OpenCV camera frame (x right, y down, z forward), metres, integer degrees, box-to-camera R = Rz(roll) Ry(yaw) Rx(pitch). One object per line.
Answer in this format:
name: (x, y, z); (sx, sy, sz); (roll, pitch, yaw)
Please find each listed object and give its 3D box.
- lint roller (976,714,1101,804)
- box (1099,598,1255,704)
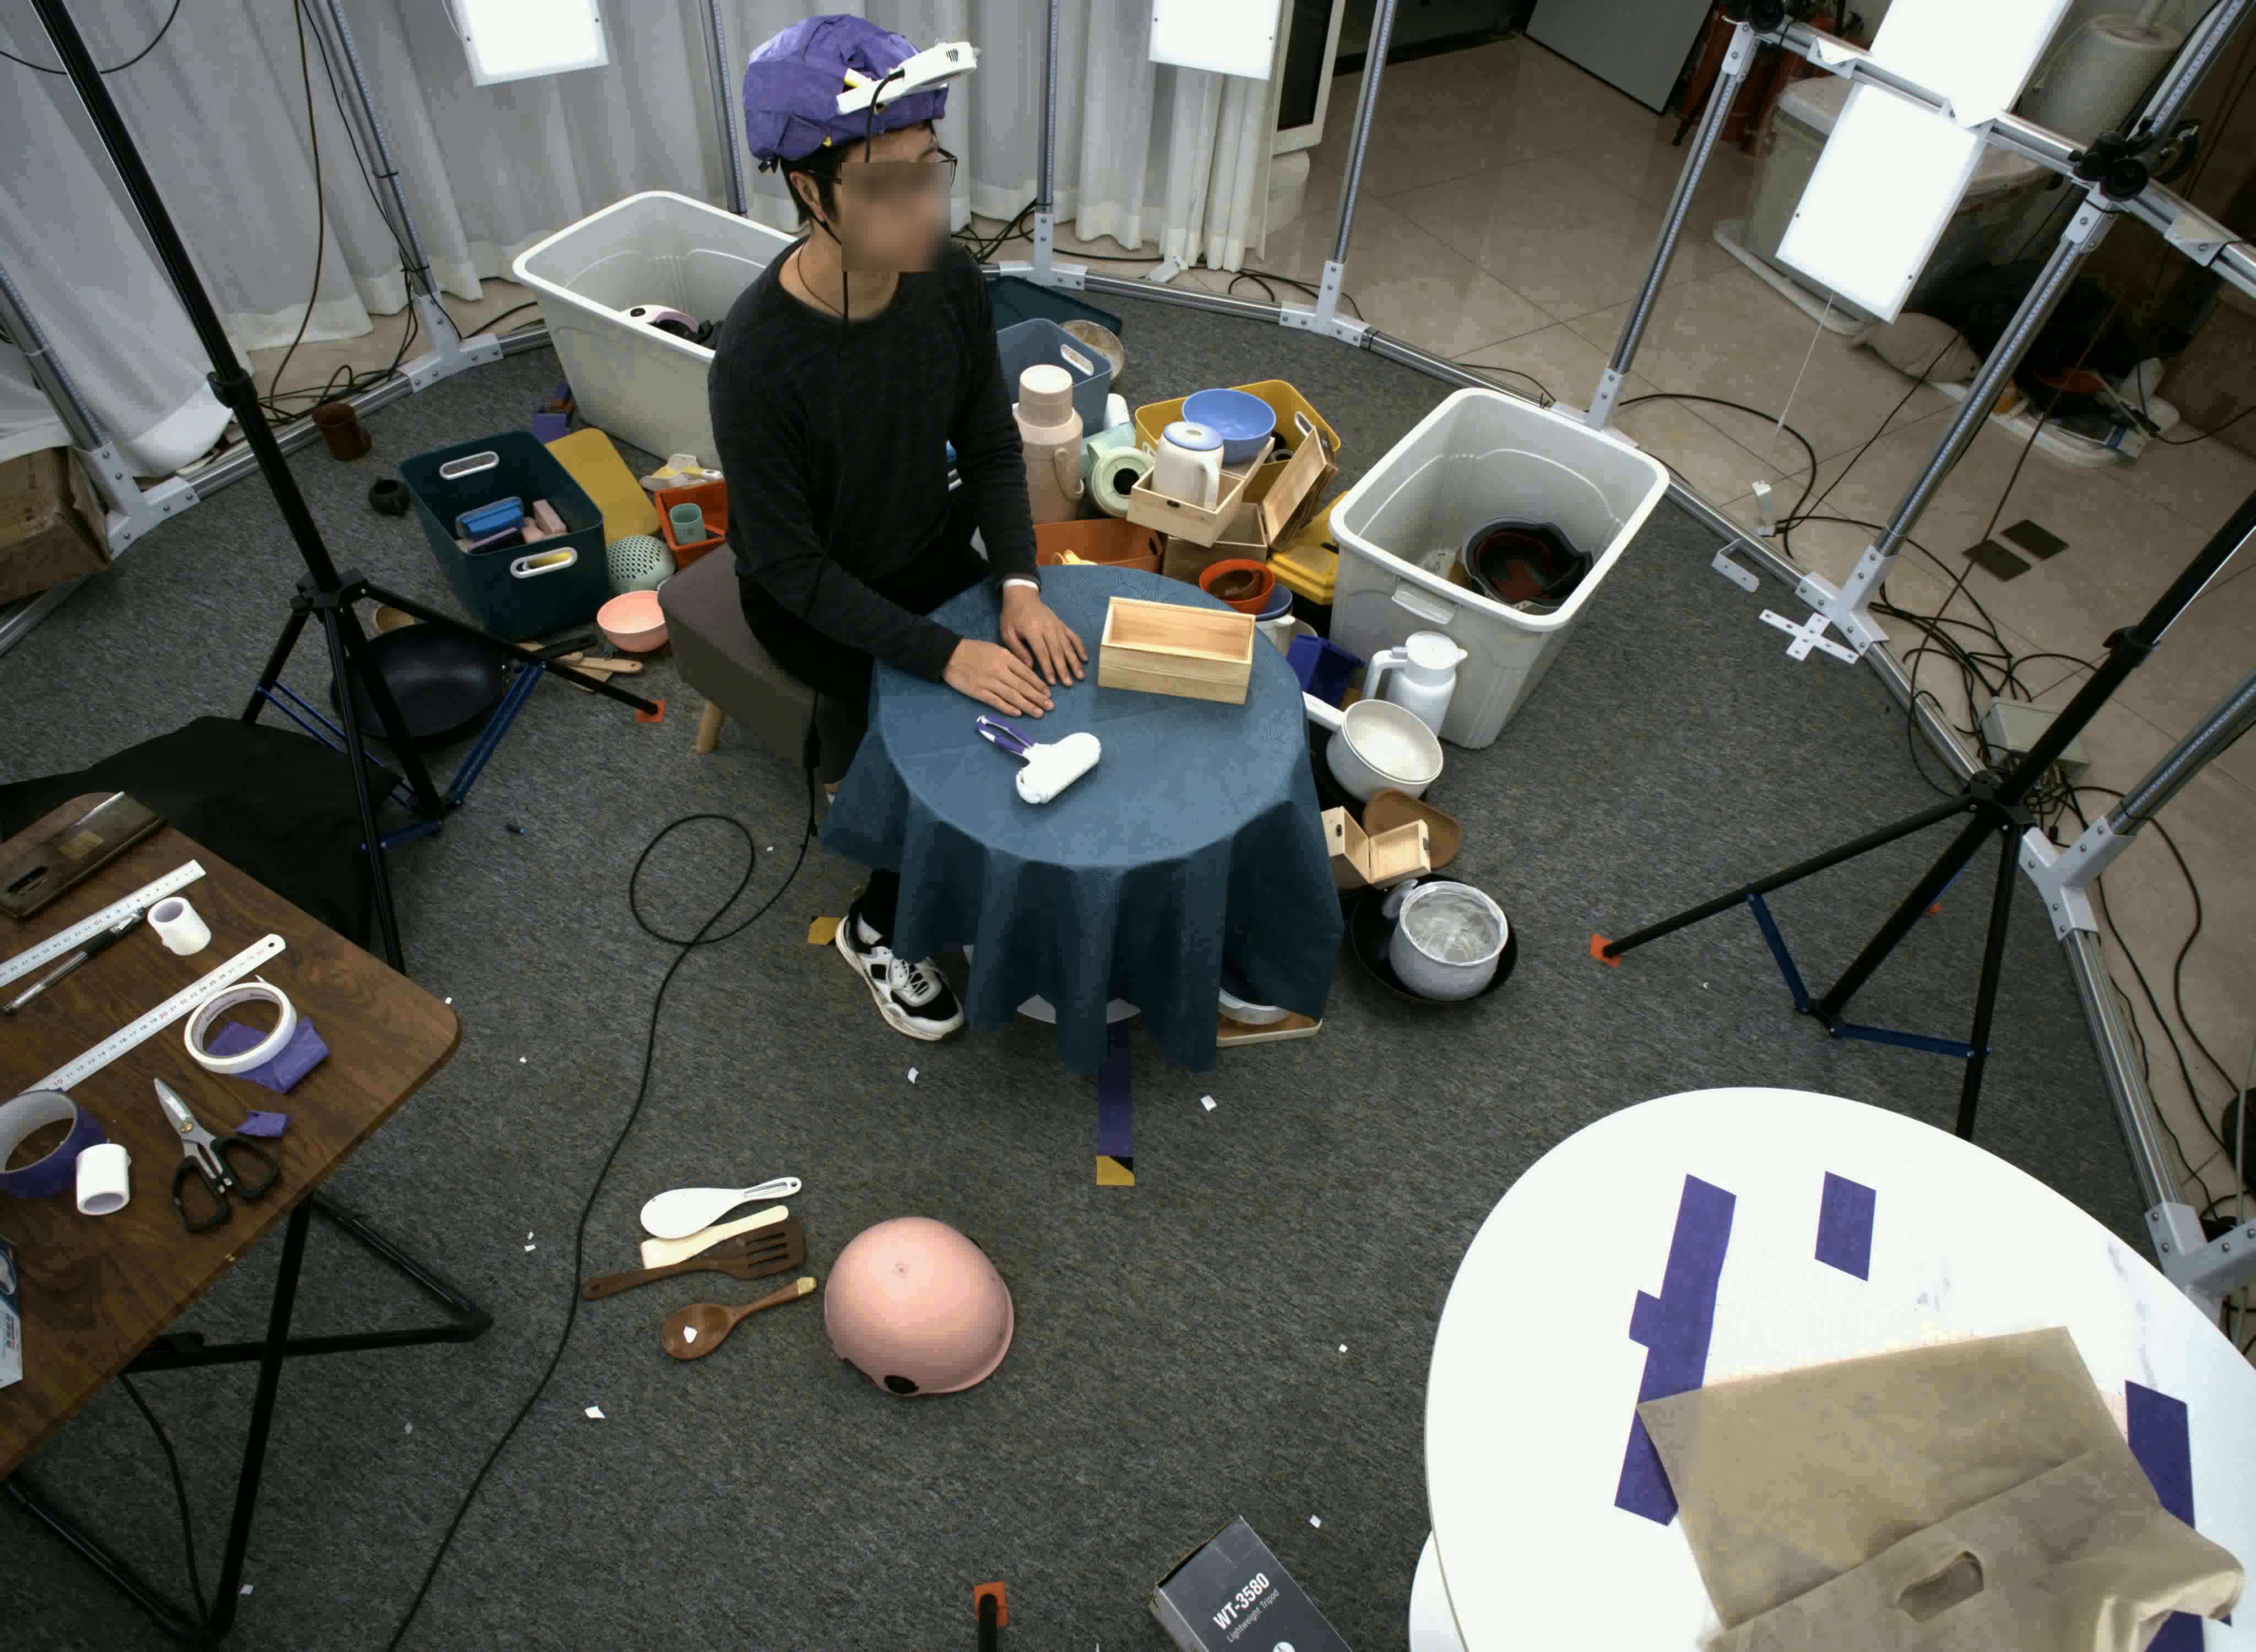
lint roller: (-0.137, -0.113, 1.728); (0.183, 0.049, 0.134); (38, 58, 24)
box: (0.070, -0.251, 1.841); (0.211, 0.078, 0.110); (7, 49, 3)
